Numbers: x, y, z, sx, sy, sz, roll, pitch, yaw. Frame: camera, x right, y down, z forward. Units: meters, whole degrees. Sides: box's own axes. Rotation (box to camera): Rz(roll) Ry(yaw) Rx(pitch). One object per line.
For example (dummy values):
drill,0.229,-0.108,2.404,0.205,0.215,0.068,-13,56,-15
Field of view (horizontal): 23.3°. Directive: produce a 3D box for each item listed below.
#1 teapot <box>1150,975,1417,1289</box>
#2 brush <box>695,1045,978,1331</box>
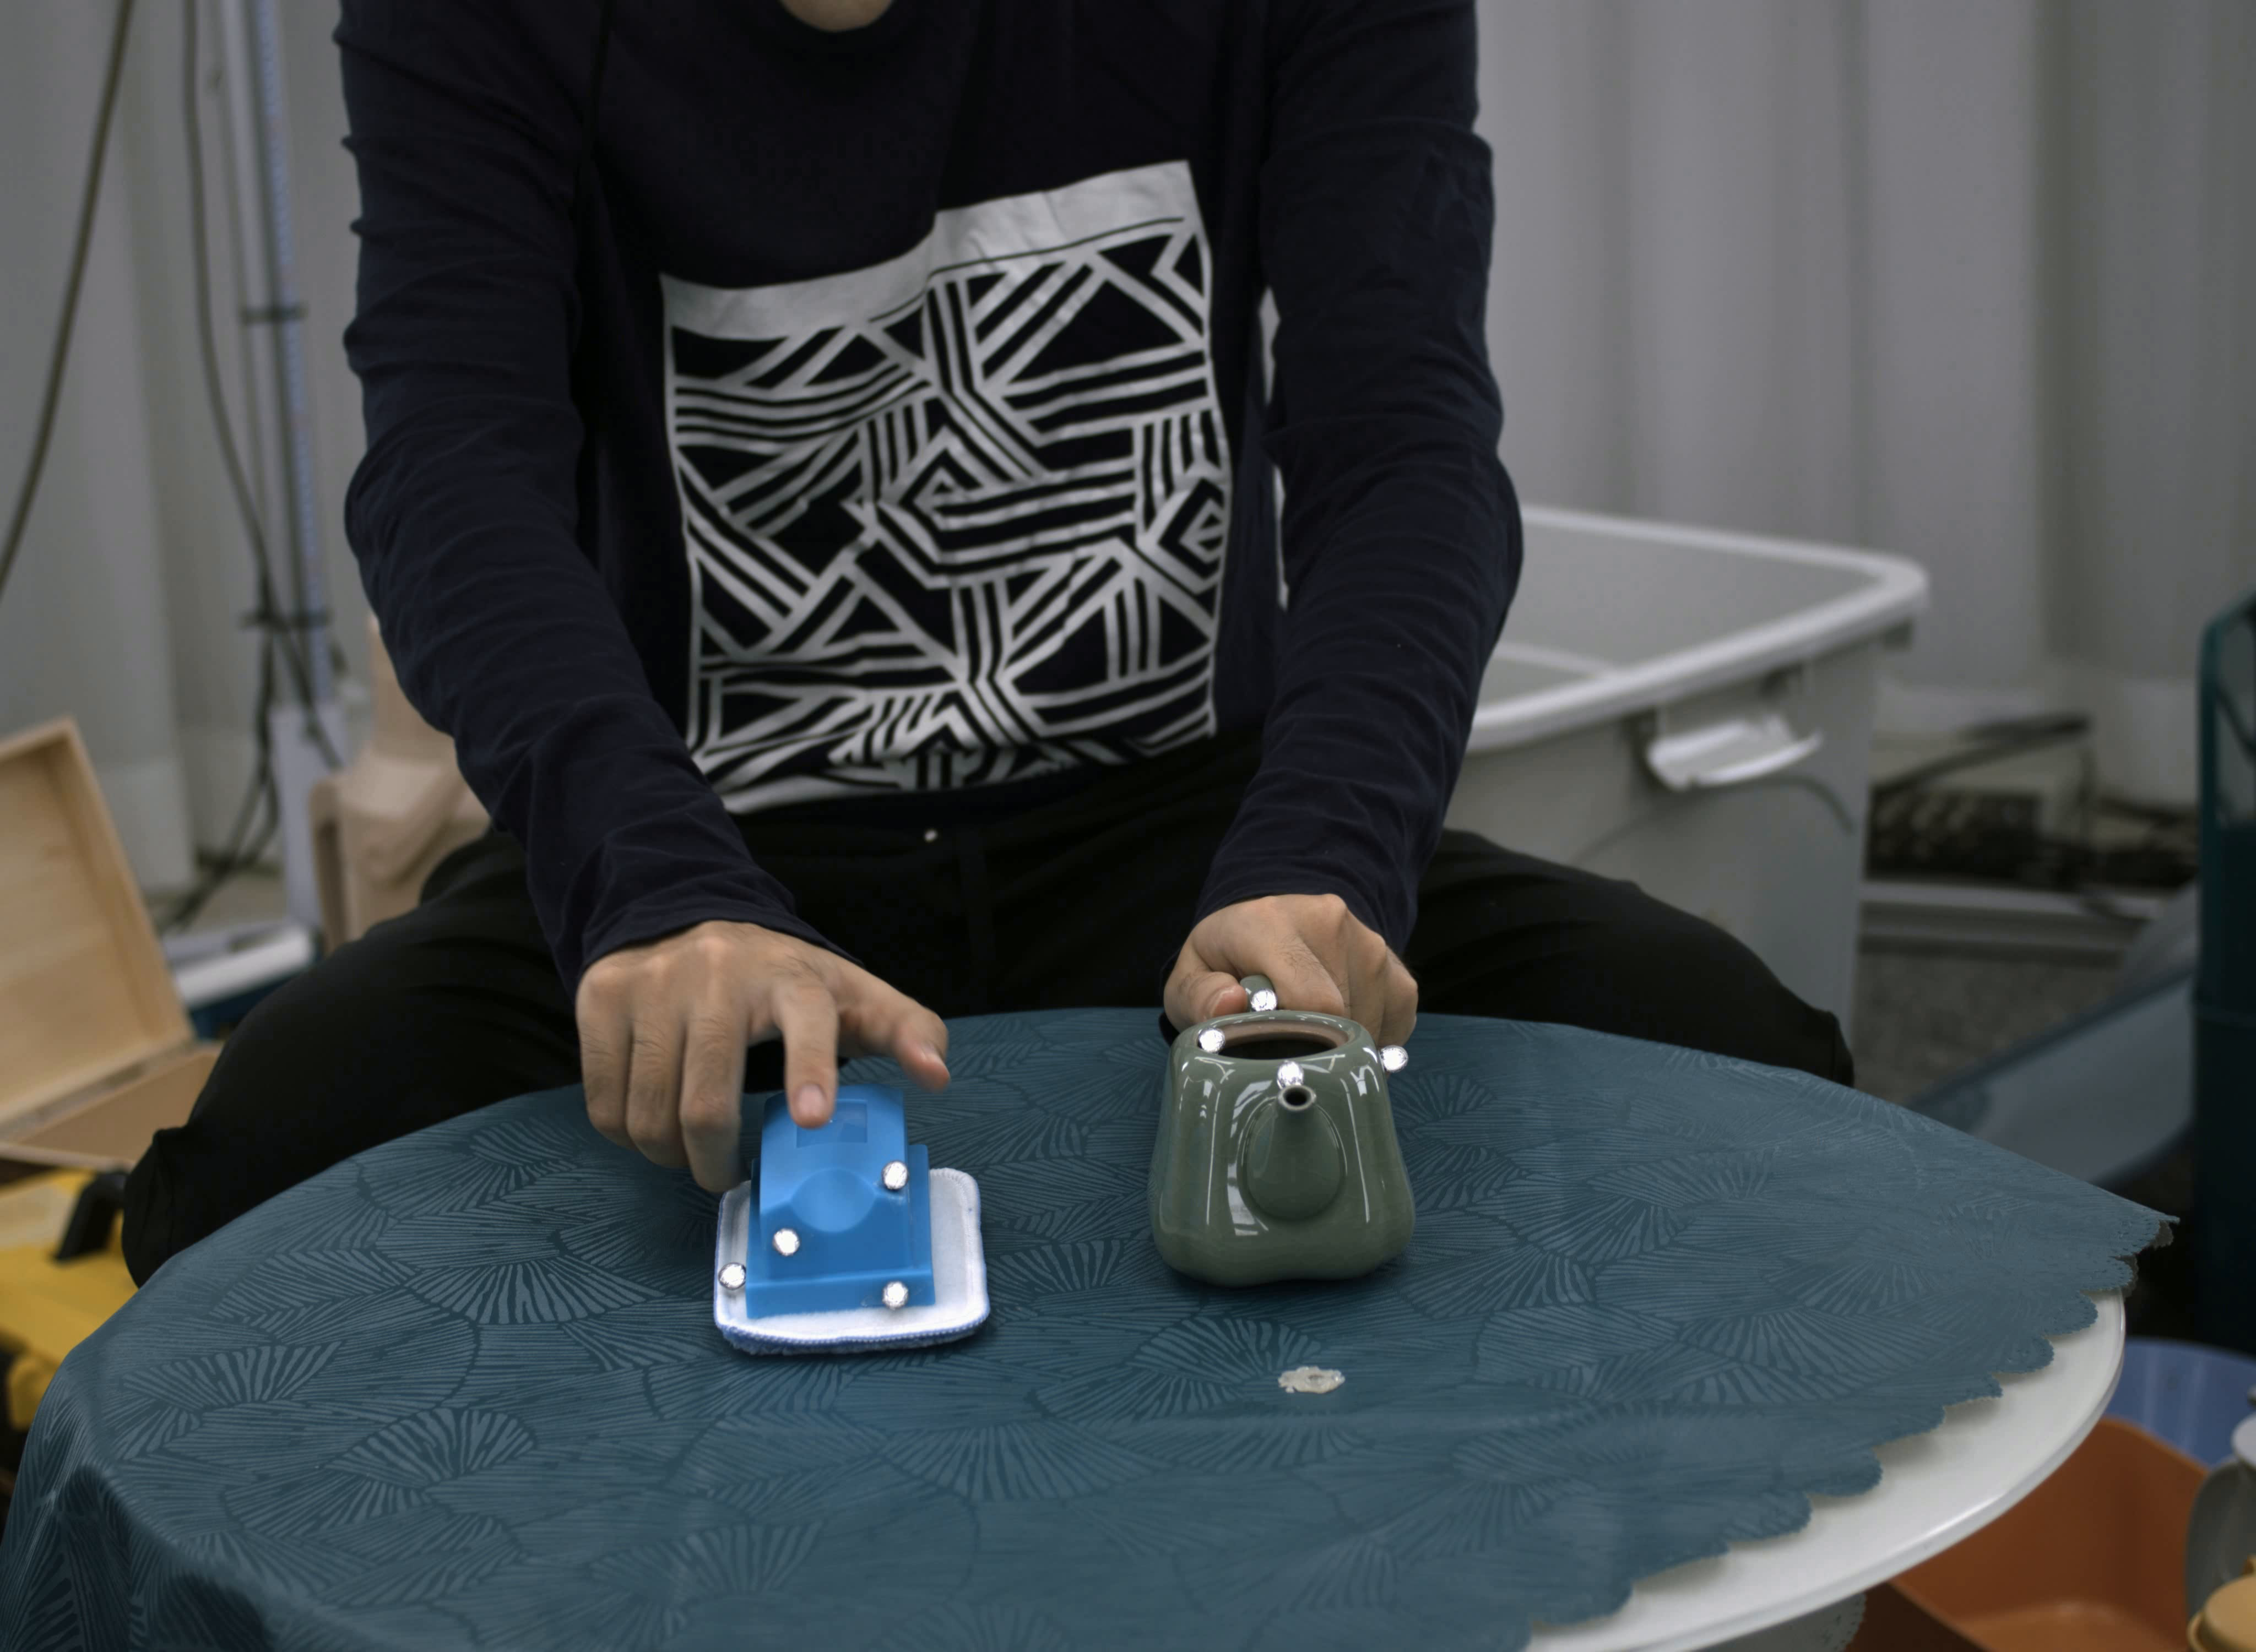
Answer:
teapot,0.045,0.095,1.641,0.079,0.075,0.133,-4,14,-3
brush,-0.087,0.106,1.647,0.083,0.055,0.145,0,17,-1
